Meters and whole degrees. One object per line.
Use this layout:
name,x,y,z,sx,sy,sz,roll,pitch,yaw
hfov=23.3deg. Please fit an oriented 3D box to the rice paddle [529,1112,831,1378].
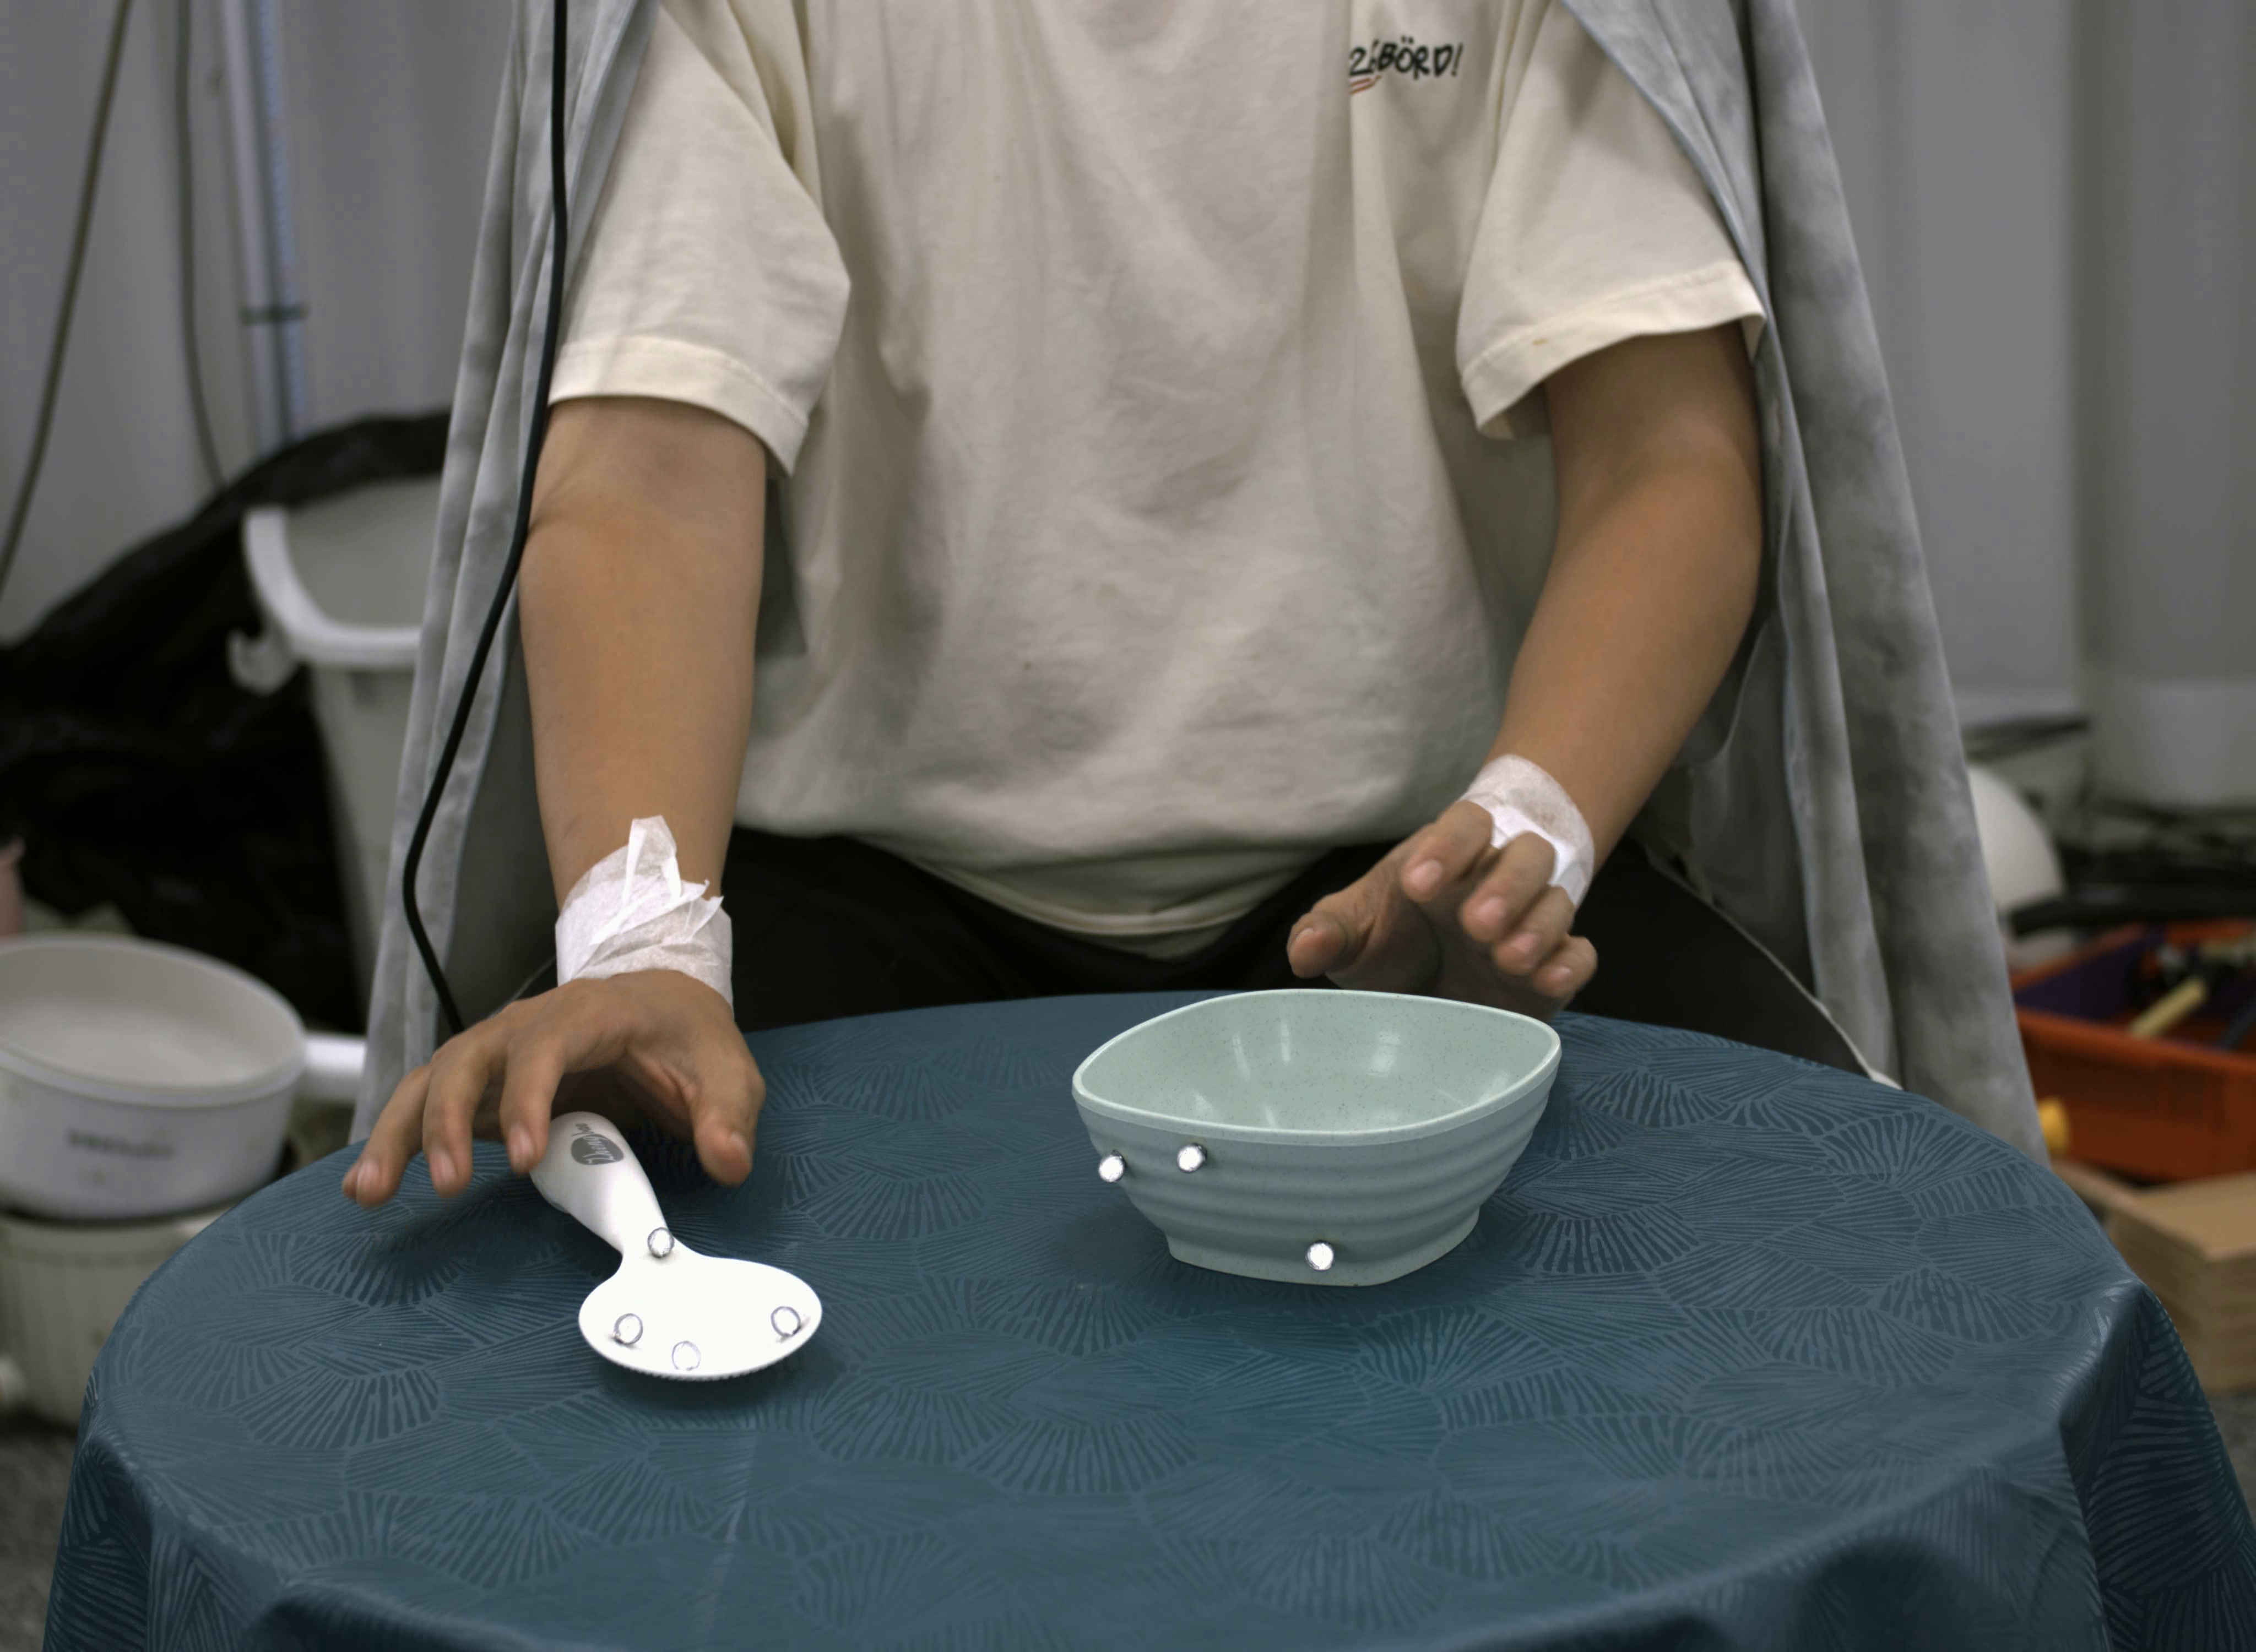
rice paddle,-0.140,0.128,1.639,0.068,0.029,0.207,-10,16,-17

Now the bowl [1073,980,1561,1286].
bowl,0.060,0.097,1.659,0.151,0.058,0.152,-6,16,1
